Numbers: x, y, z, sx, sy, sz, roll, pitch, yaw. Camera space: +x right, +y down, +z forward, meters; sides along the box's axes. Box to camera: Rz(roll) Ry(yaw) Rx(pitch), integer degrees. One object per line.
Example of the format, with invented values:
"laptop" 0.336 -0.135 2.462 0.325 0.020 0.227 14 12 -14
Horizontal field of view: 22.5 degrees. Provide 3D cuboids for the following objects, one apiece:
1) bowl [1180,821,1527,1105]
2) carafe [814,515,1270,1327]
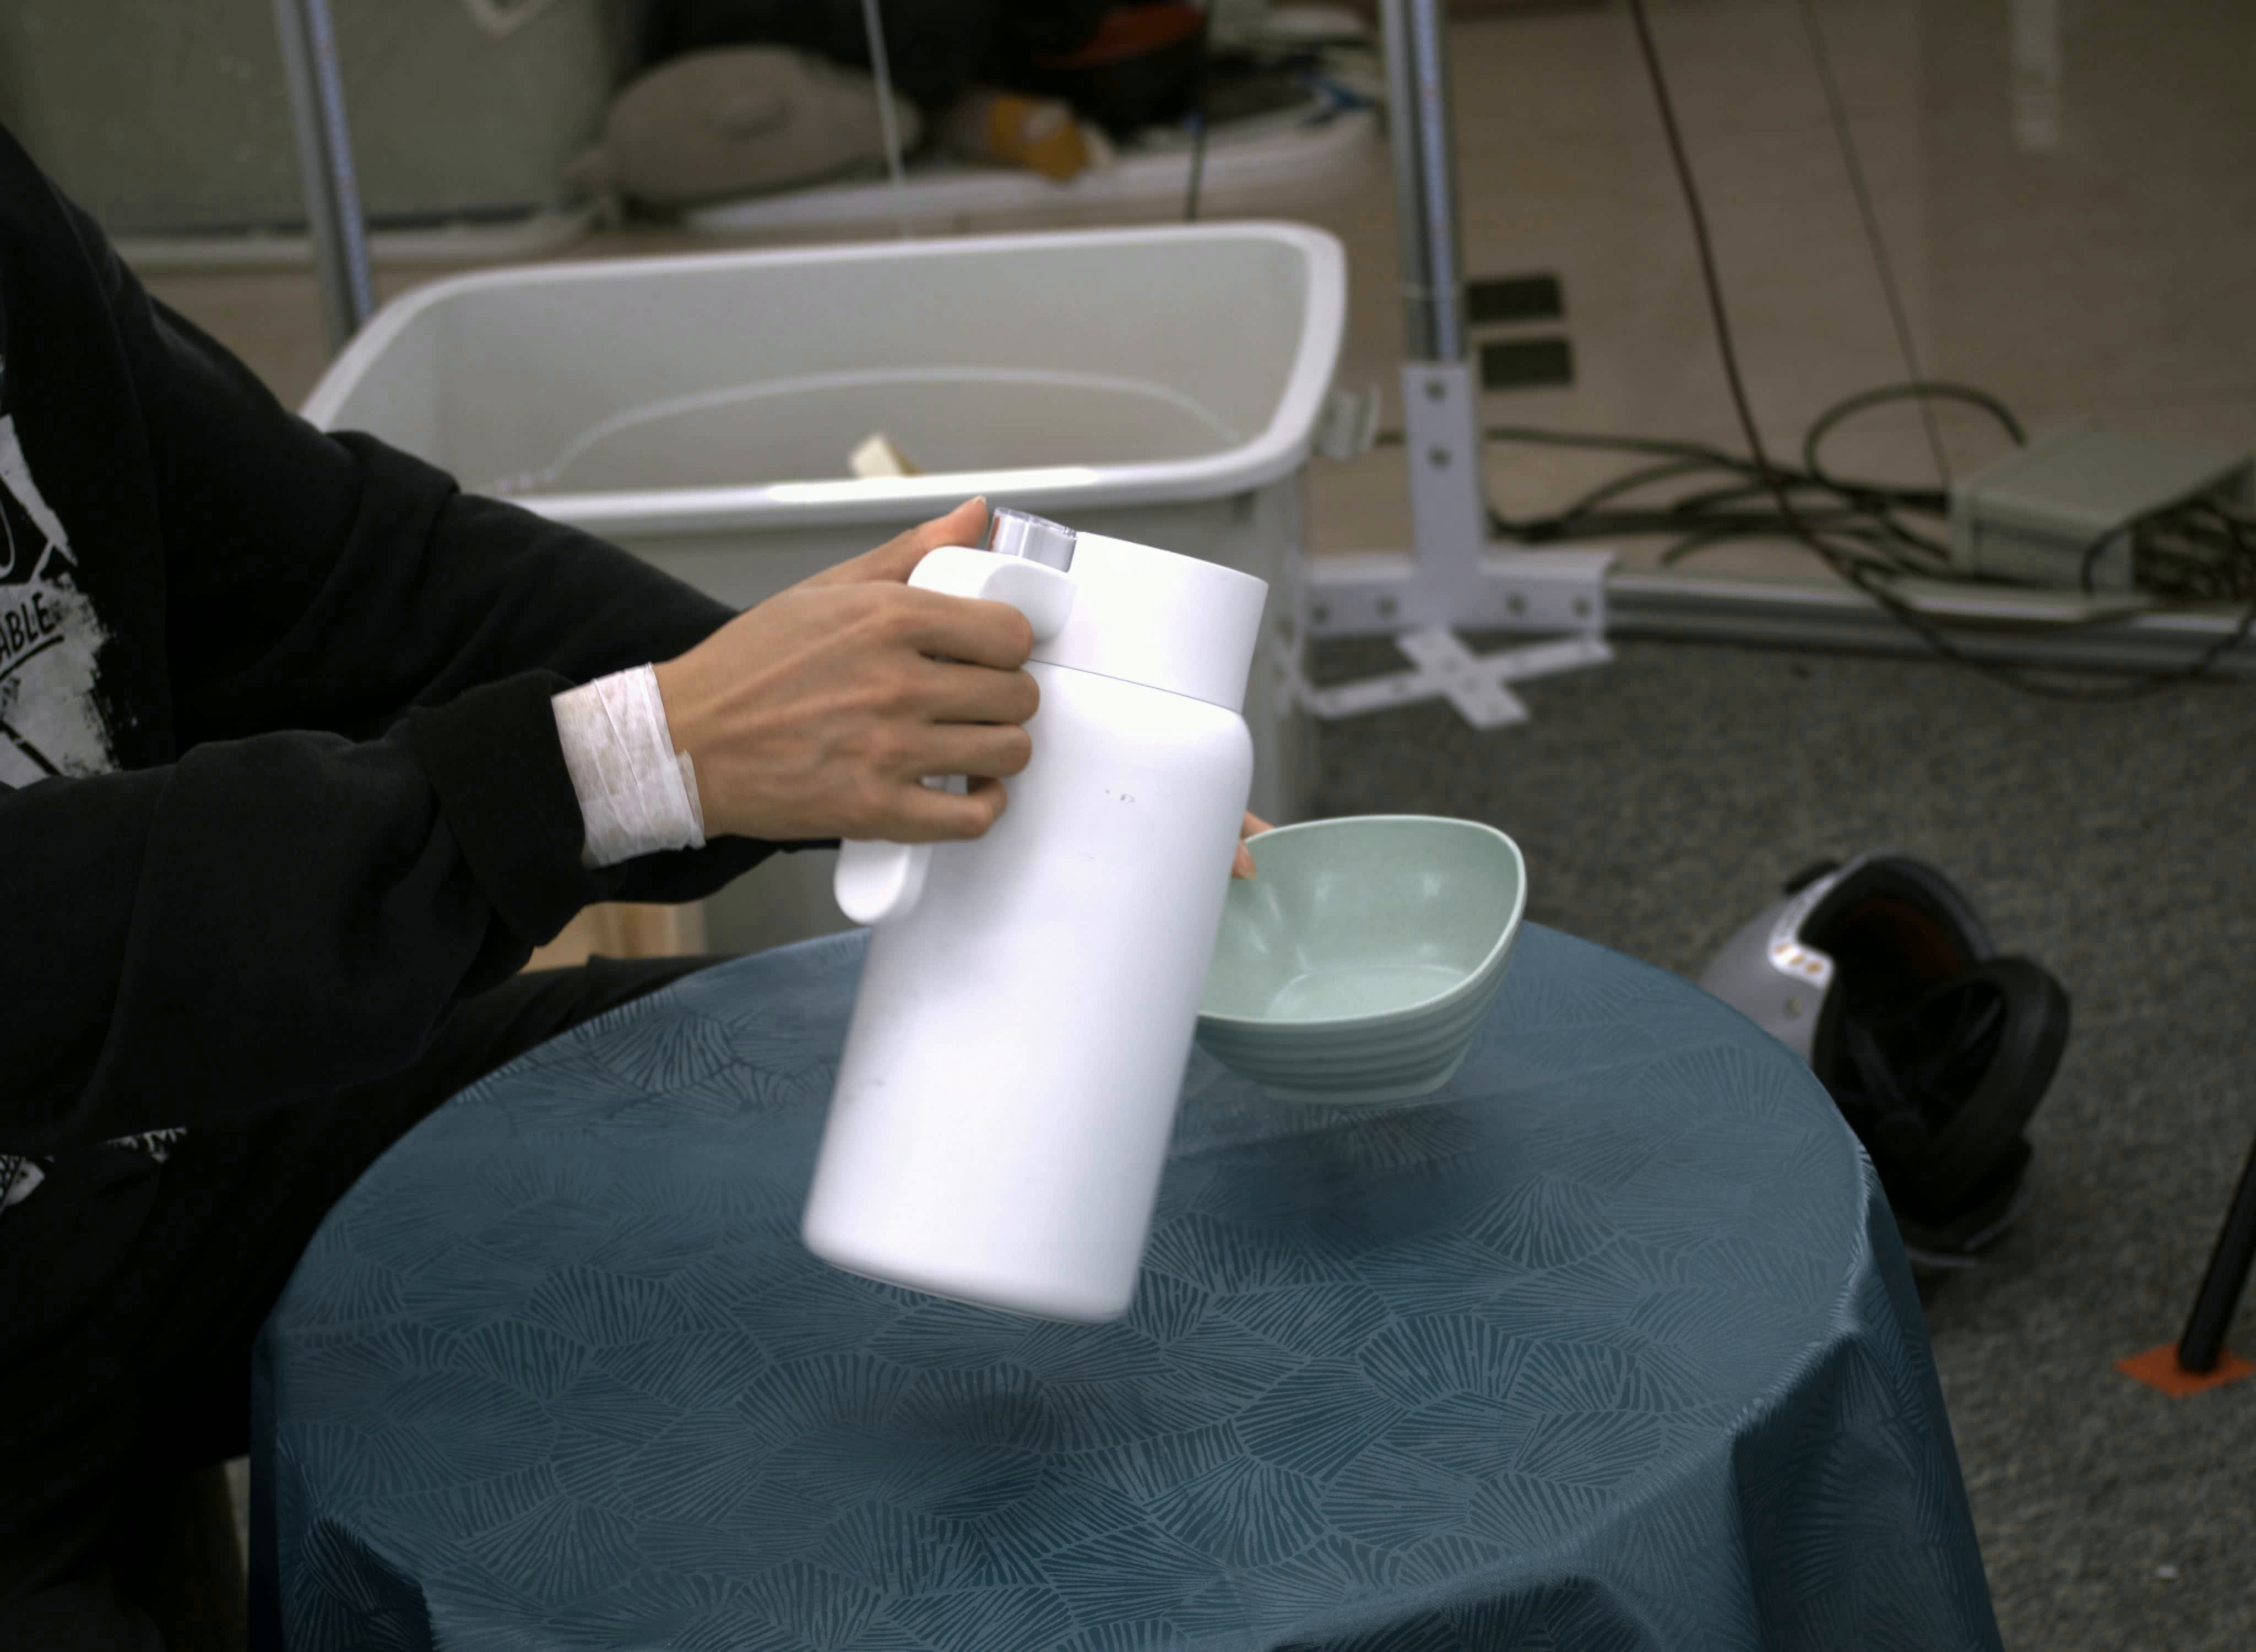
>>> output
"bowl" 0.085 0.058 2.145 0.151 0.060 0.149 -9 31 6
"carafe" -0.035 0.031 1.955 0.123 0.269 0.173 15 1 35
